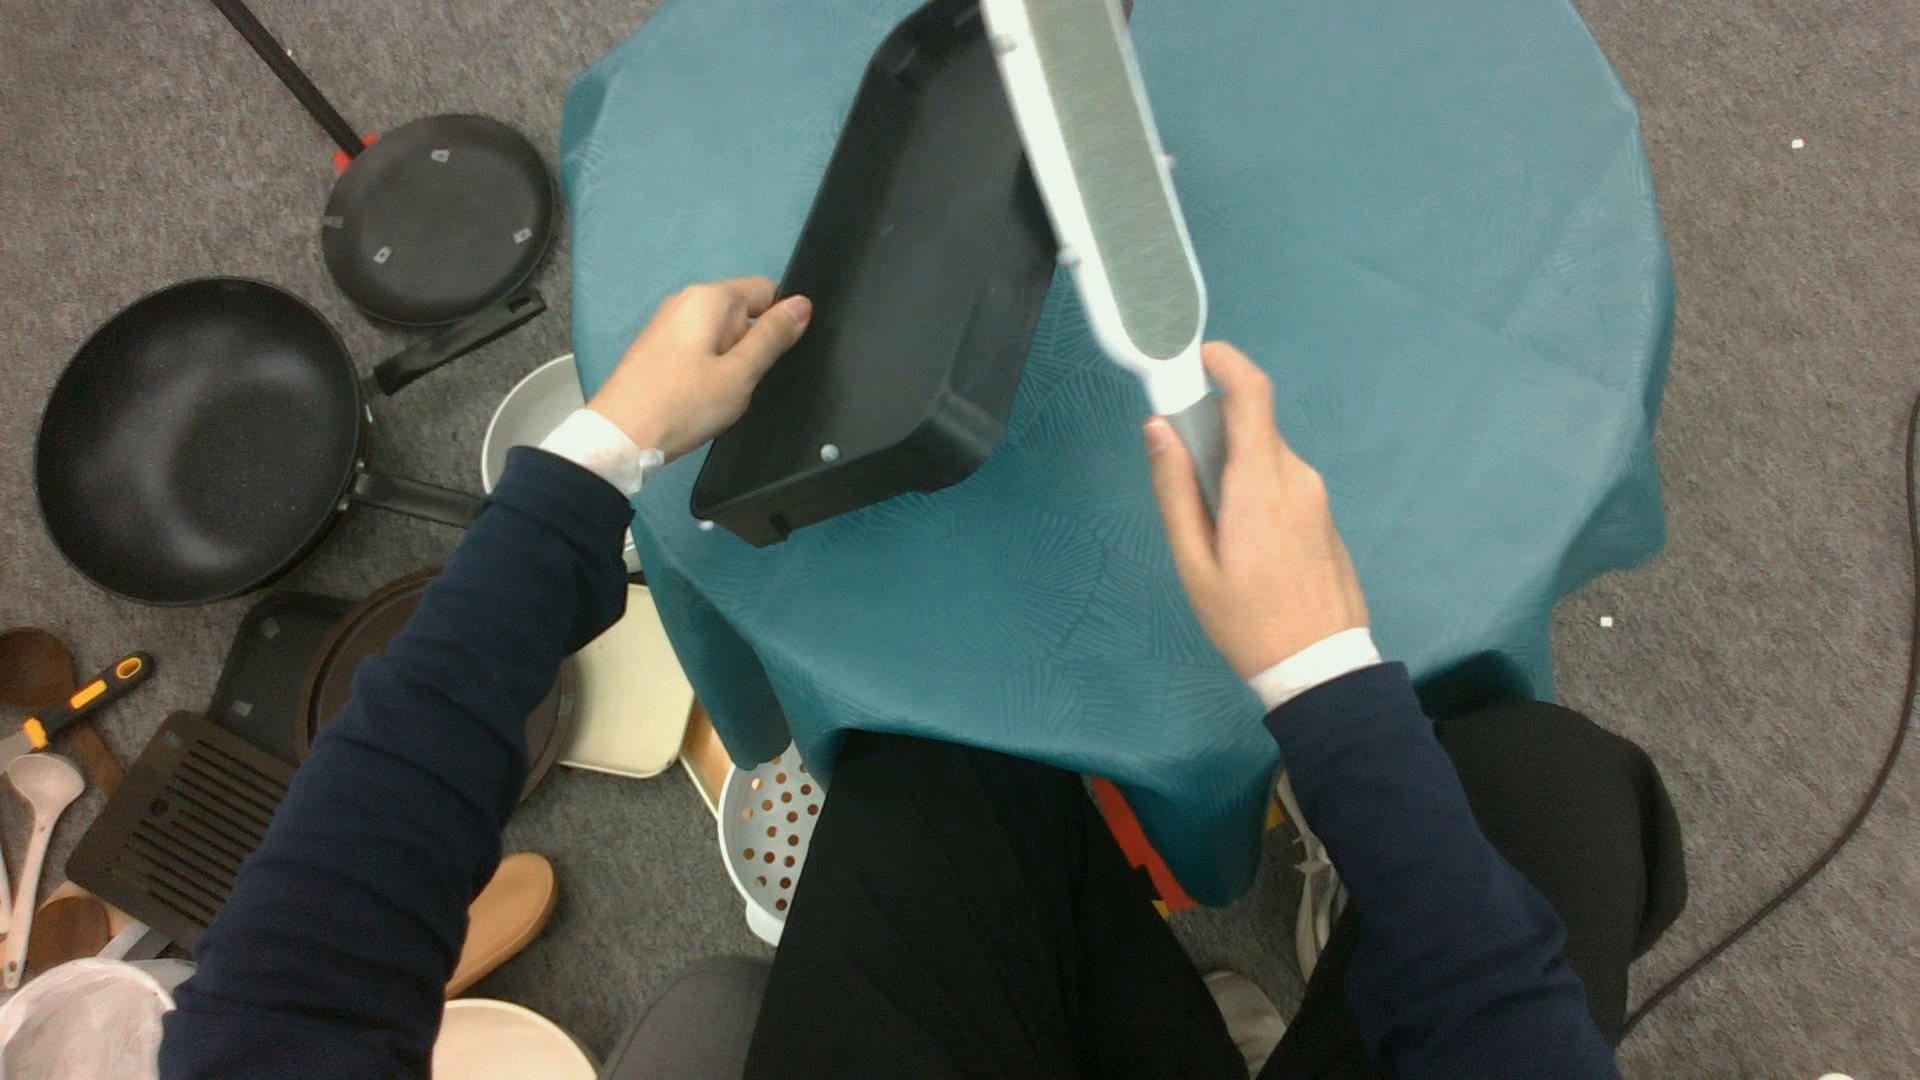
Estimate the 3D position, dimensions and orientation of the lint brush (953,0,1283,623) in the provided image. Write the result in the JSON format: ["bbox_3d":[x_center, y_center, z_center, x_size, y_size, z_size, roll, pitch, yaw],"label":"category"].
[{"bbox_3d":[0.071,-0.102,0.569,0.060,0.021,0.308,-35,107,-40],"label":"lint brush"}]

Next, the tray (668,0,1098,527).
[{"bbox_3d":[-0.028,-0.160,0.639,0.037,0.183,0.319,33,59,-32],"label":"tray"}]
